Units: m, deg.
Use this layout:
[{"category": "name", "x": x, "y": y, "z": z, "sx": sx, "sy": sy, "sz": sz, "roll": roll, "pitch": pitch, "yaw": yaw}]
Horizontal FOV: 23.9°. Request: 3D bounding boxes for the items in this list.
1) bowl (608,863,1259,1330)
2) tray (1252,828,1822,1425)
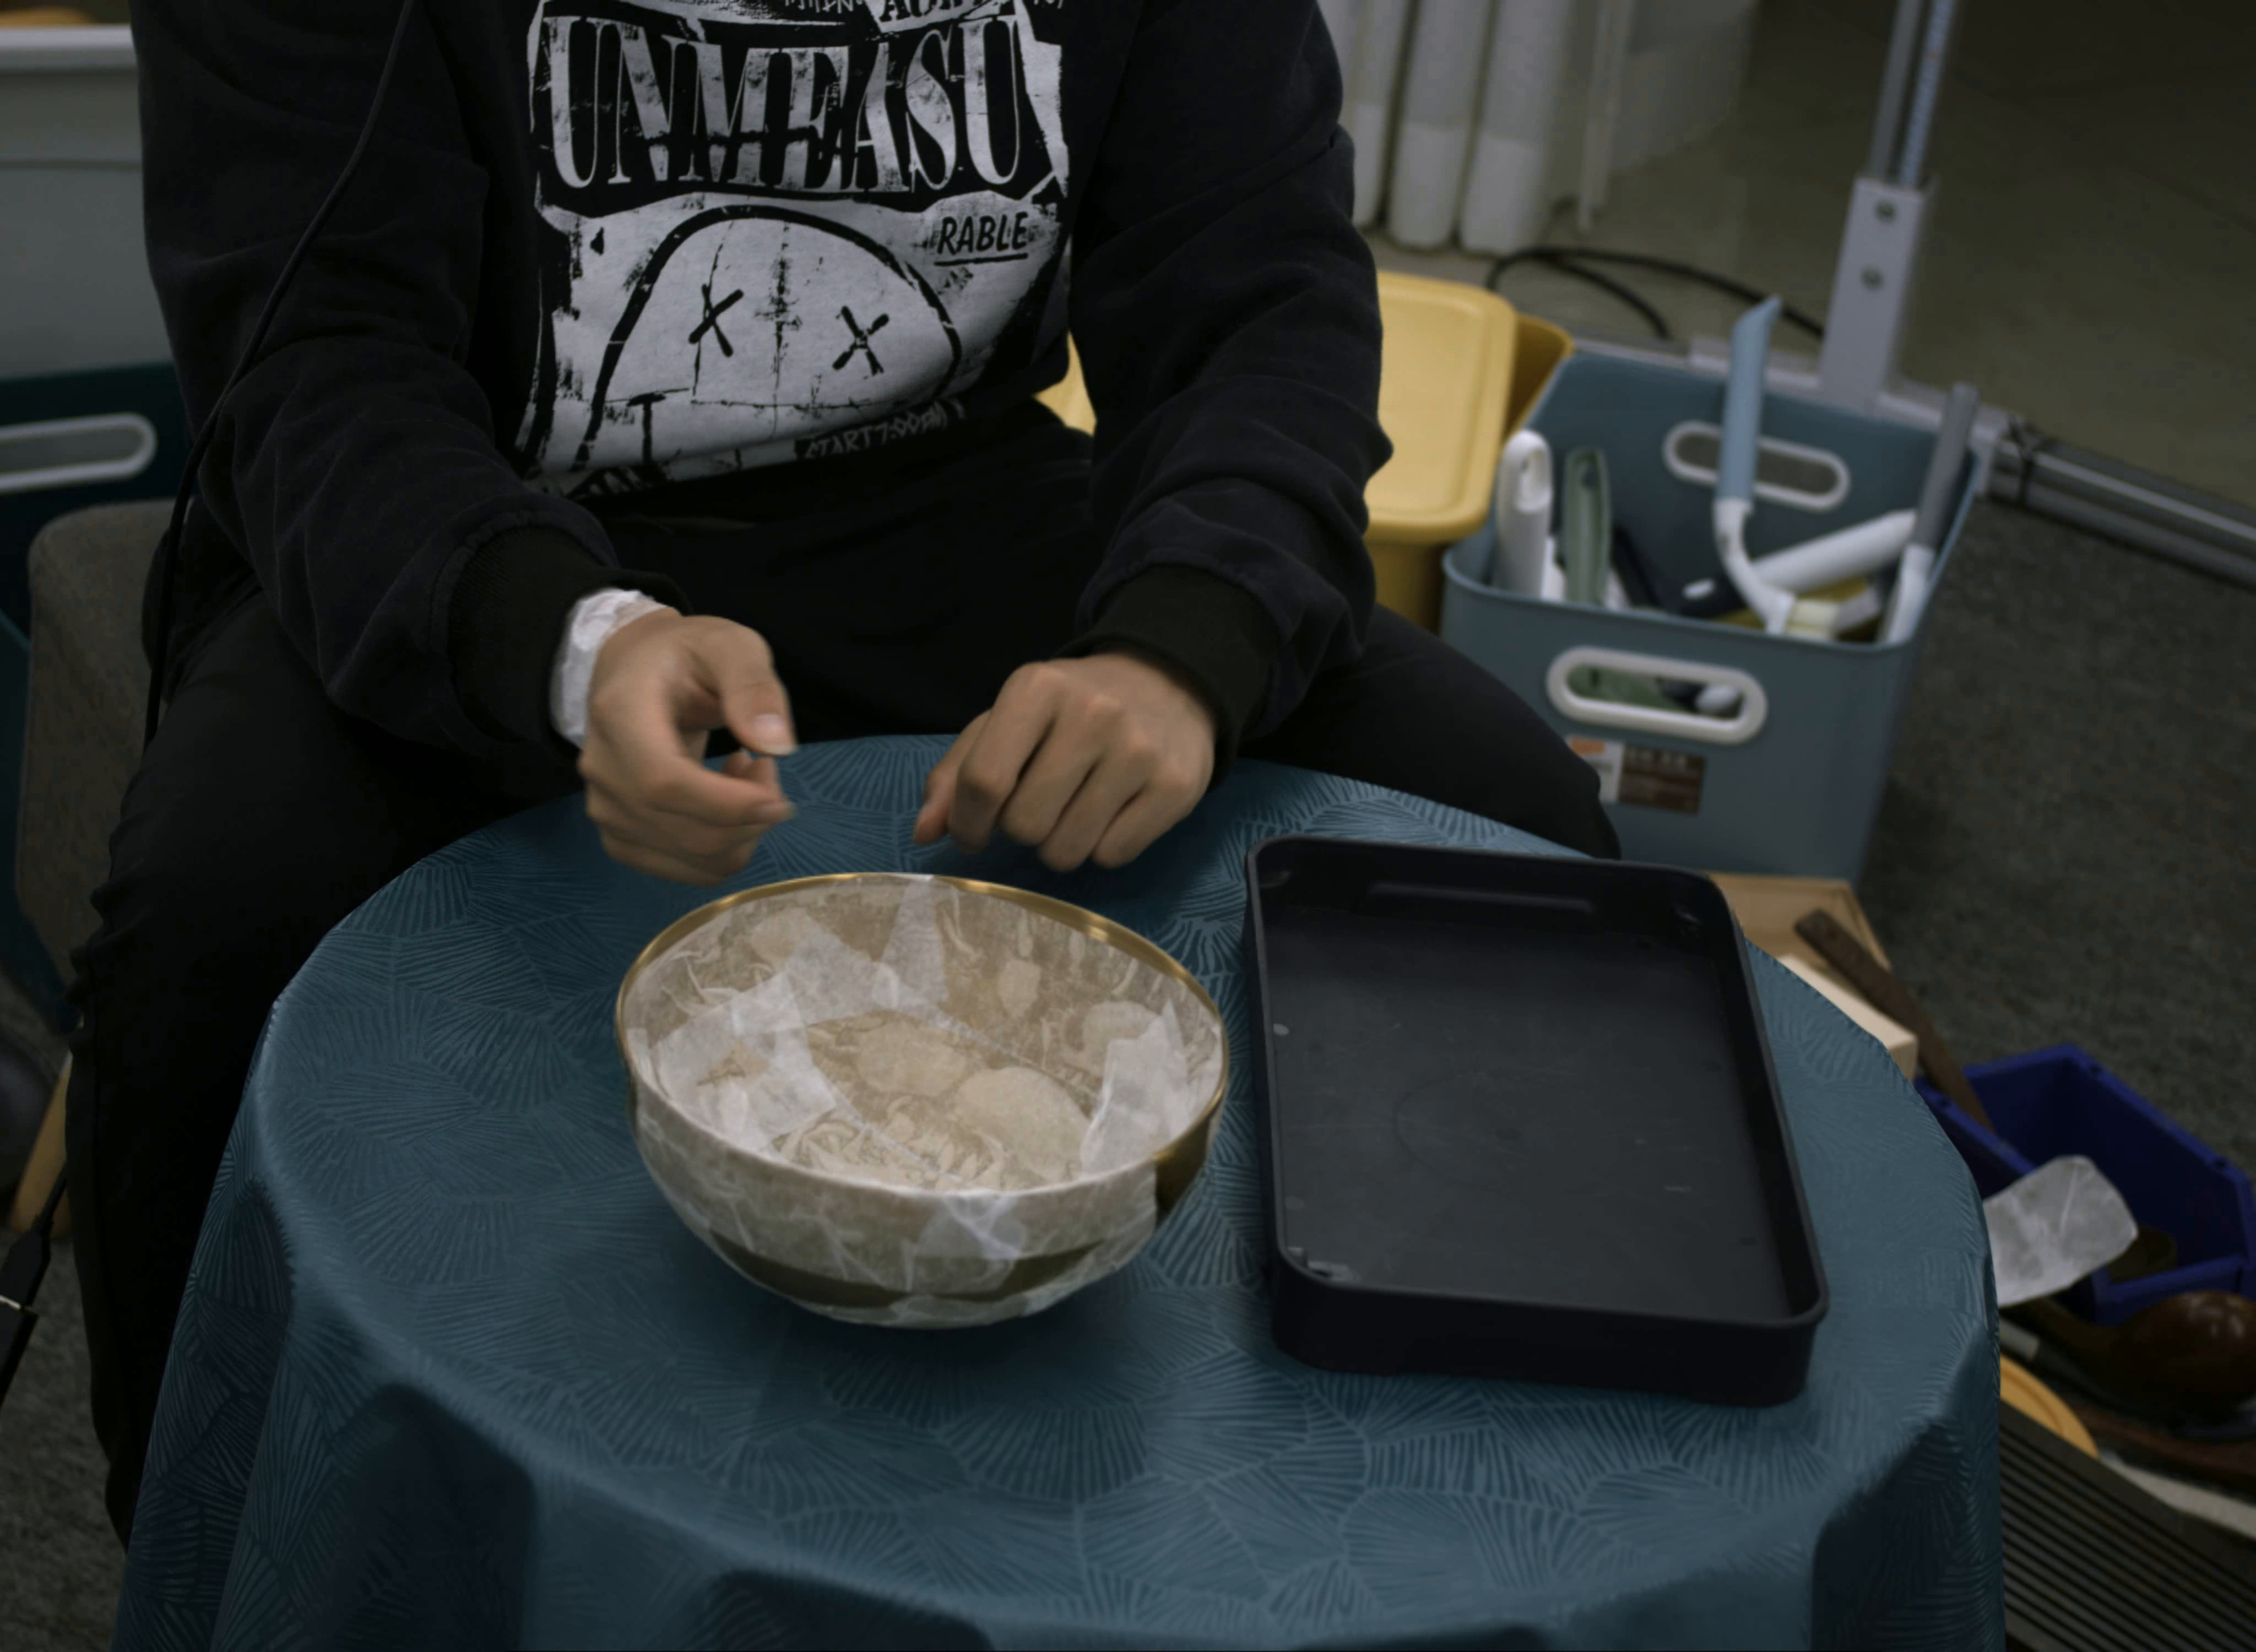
[{"category": "bowl", "x": -0.067, "y": 0.100, "z": 1.728, "sx": 0.214, "sy": 0.094, "sz": 0.216, "roll": 4, "pitch": 28, "yaw": -3}, {"category": "tray", "x": 0.134, "y": 0.098, "z": 1.847, "sx": 0.184, "sy": 0.037, "sz": 0.320, "roll": 6, "pitch": 28, "yaw": -2}]
